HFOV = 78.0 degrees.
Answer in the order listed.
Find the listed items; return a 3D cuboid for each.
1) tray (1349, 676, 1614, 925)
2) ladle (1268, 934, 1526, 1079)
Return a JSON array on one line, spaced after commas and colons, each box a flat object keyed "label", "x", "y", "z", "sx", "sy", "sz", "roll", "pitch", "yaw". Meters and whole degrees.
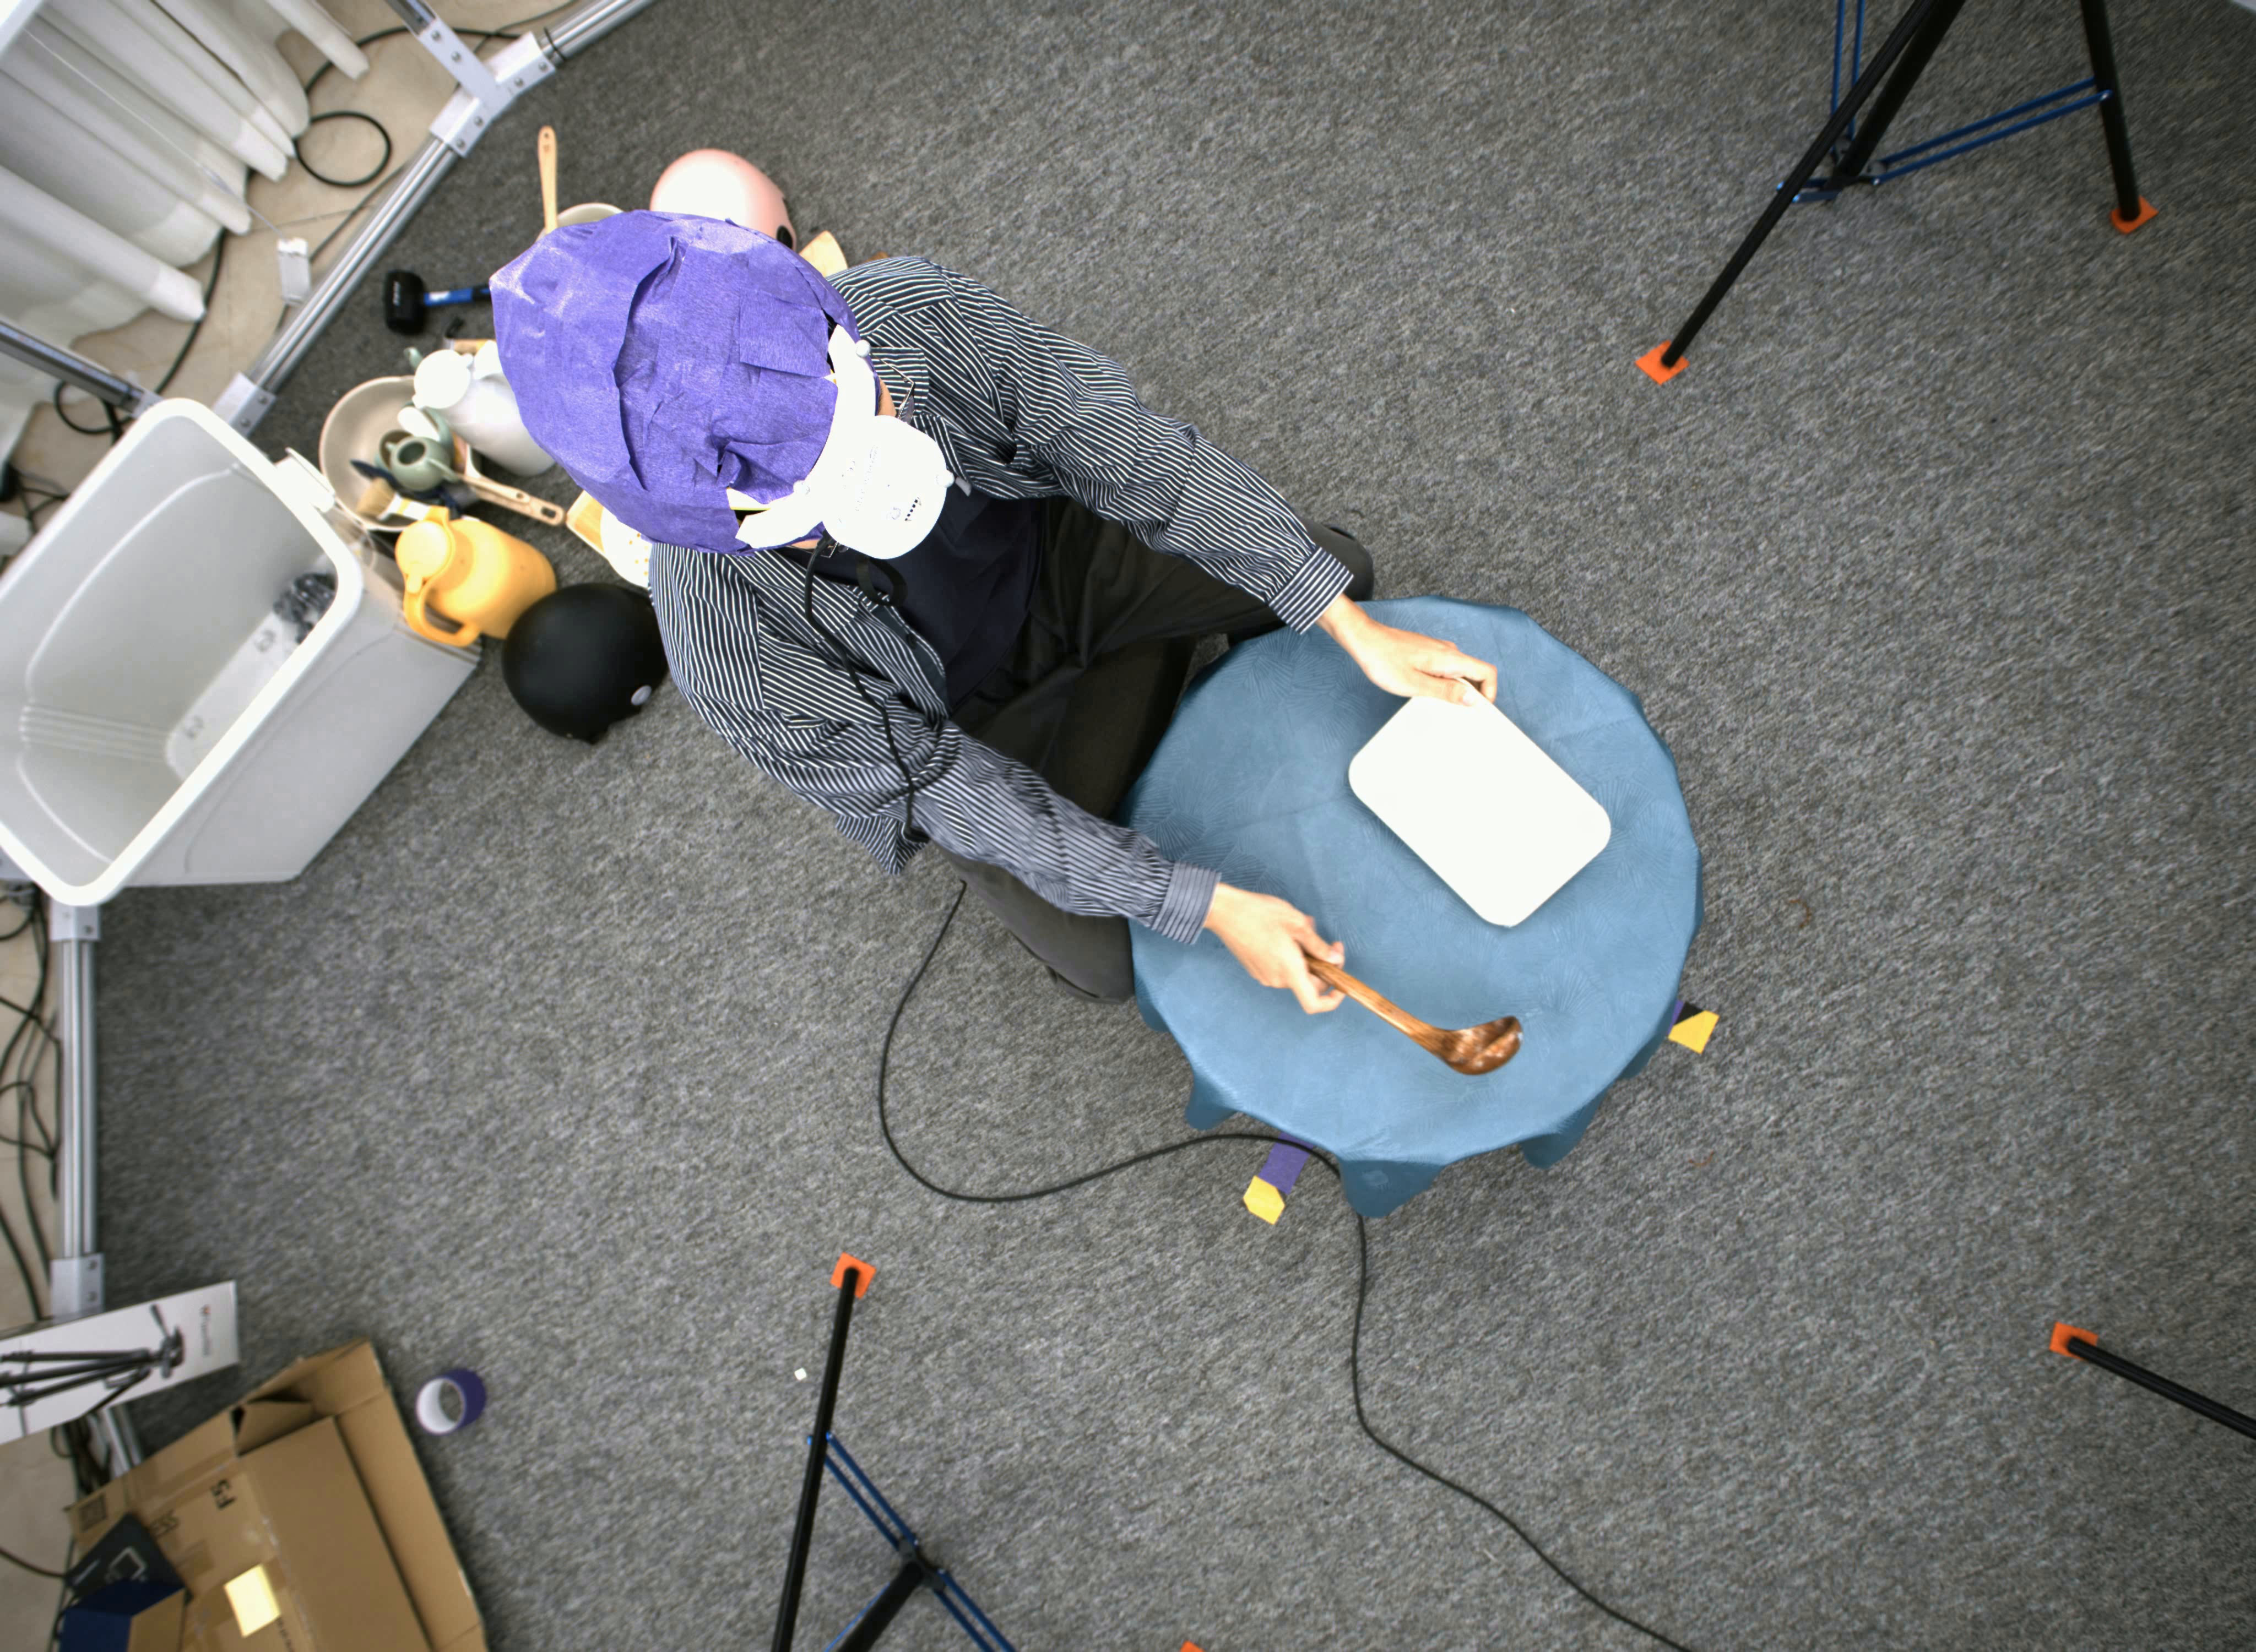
[{"label": "tray", "x": 0.353, "y": -0.027, "z": 1.382, "sx": 0.239, "sy": 0.017, "sz": 0.175, "roll": 43, "pitch": 123, "yaw": 5}, {"label": "ladle", "x": 0.260, "y": 0.160, "z": 1.361, "sx": 0.272, "sy": 0.080, "sz": 0.078, "roll": 33, "pitch": 127, "yaw": 21}]
